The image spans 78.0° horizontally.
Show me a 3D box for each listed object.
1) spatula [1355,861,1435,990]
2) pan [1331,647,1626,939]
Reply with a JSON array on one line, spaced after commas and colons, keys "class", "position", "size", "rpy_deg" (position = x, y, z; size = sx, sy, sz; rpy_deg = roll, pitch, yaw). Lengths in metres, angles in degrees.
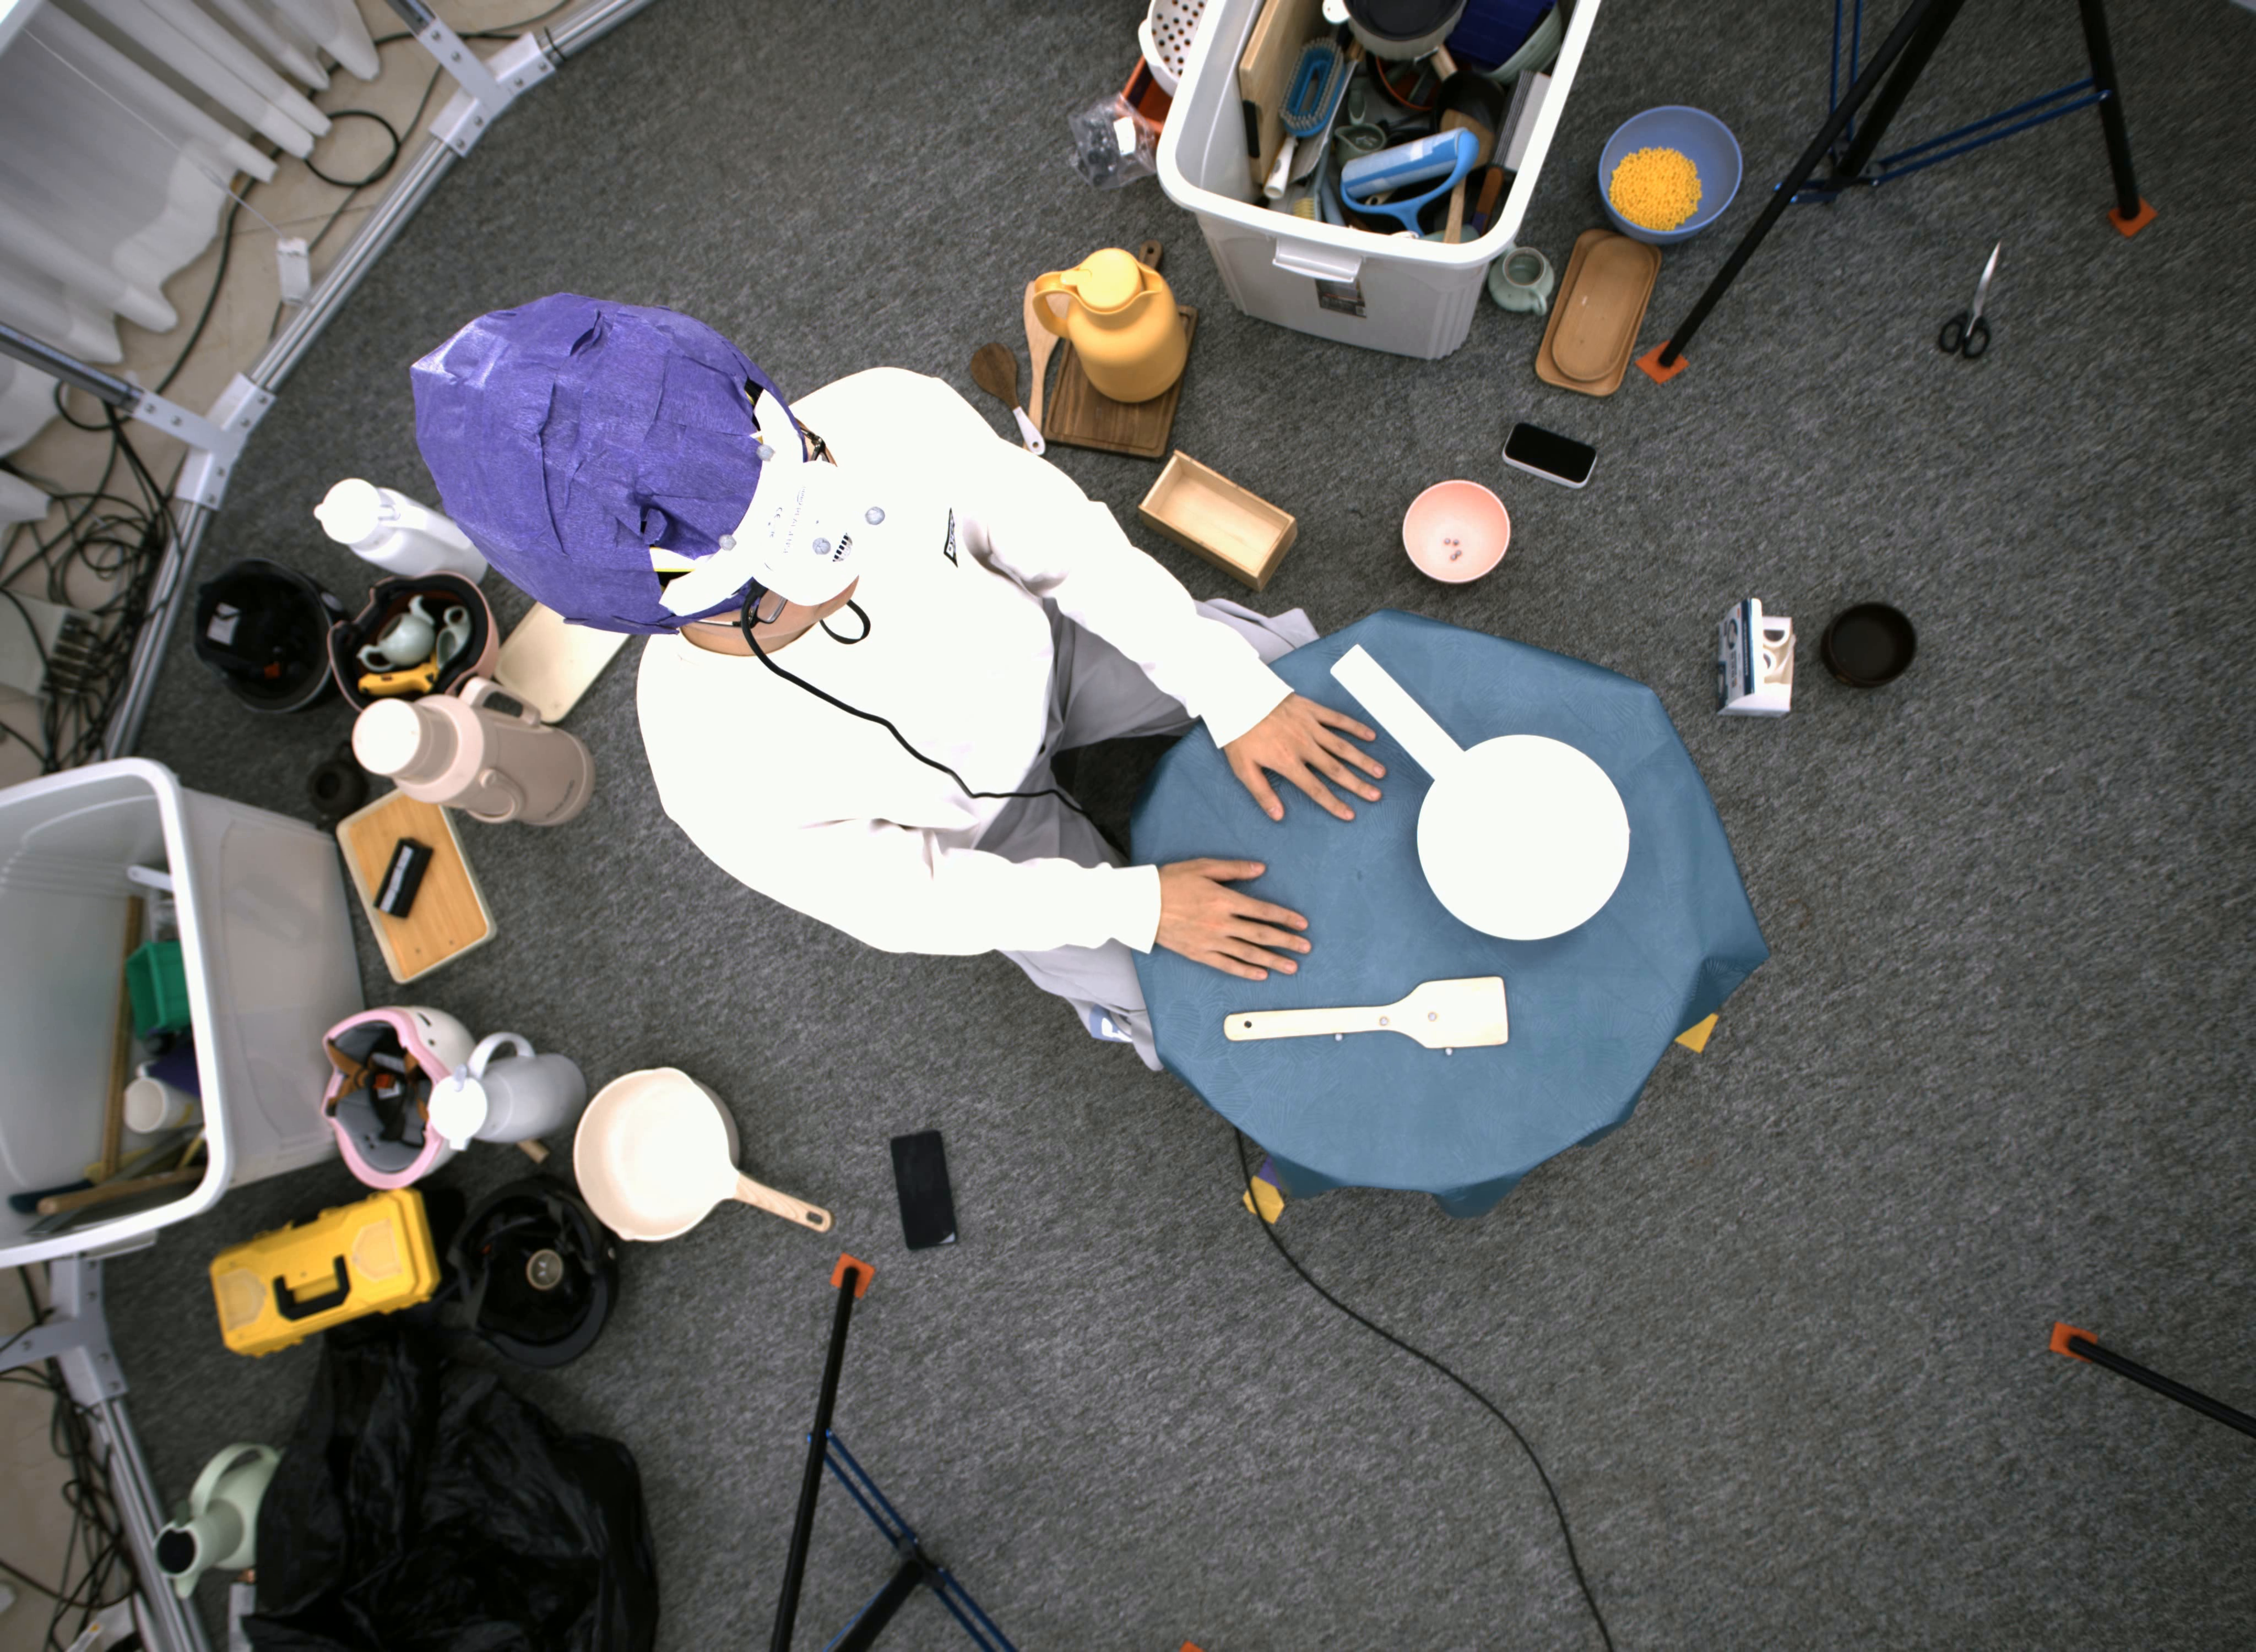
[{"class": "spatula", "position": [0.420, 0.091, 1.986], "size": [0.072, 0.010, 0.293], "rpy_deg": [28, 92, 13]}, {"class": "pan", "position": [0.346, -0.042, 1.410], "size": [0.202, 0.102, 0.352], "rpy_deg": [-45, 77, 9]}]
